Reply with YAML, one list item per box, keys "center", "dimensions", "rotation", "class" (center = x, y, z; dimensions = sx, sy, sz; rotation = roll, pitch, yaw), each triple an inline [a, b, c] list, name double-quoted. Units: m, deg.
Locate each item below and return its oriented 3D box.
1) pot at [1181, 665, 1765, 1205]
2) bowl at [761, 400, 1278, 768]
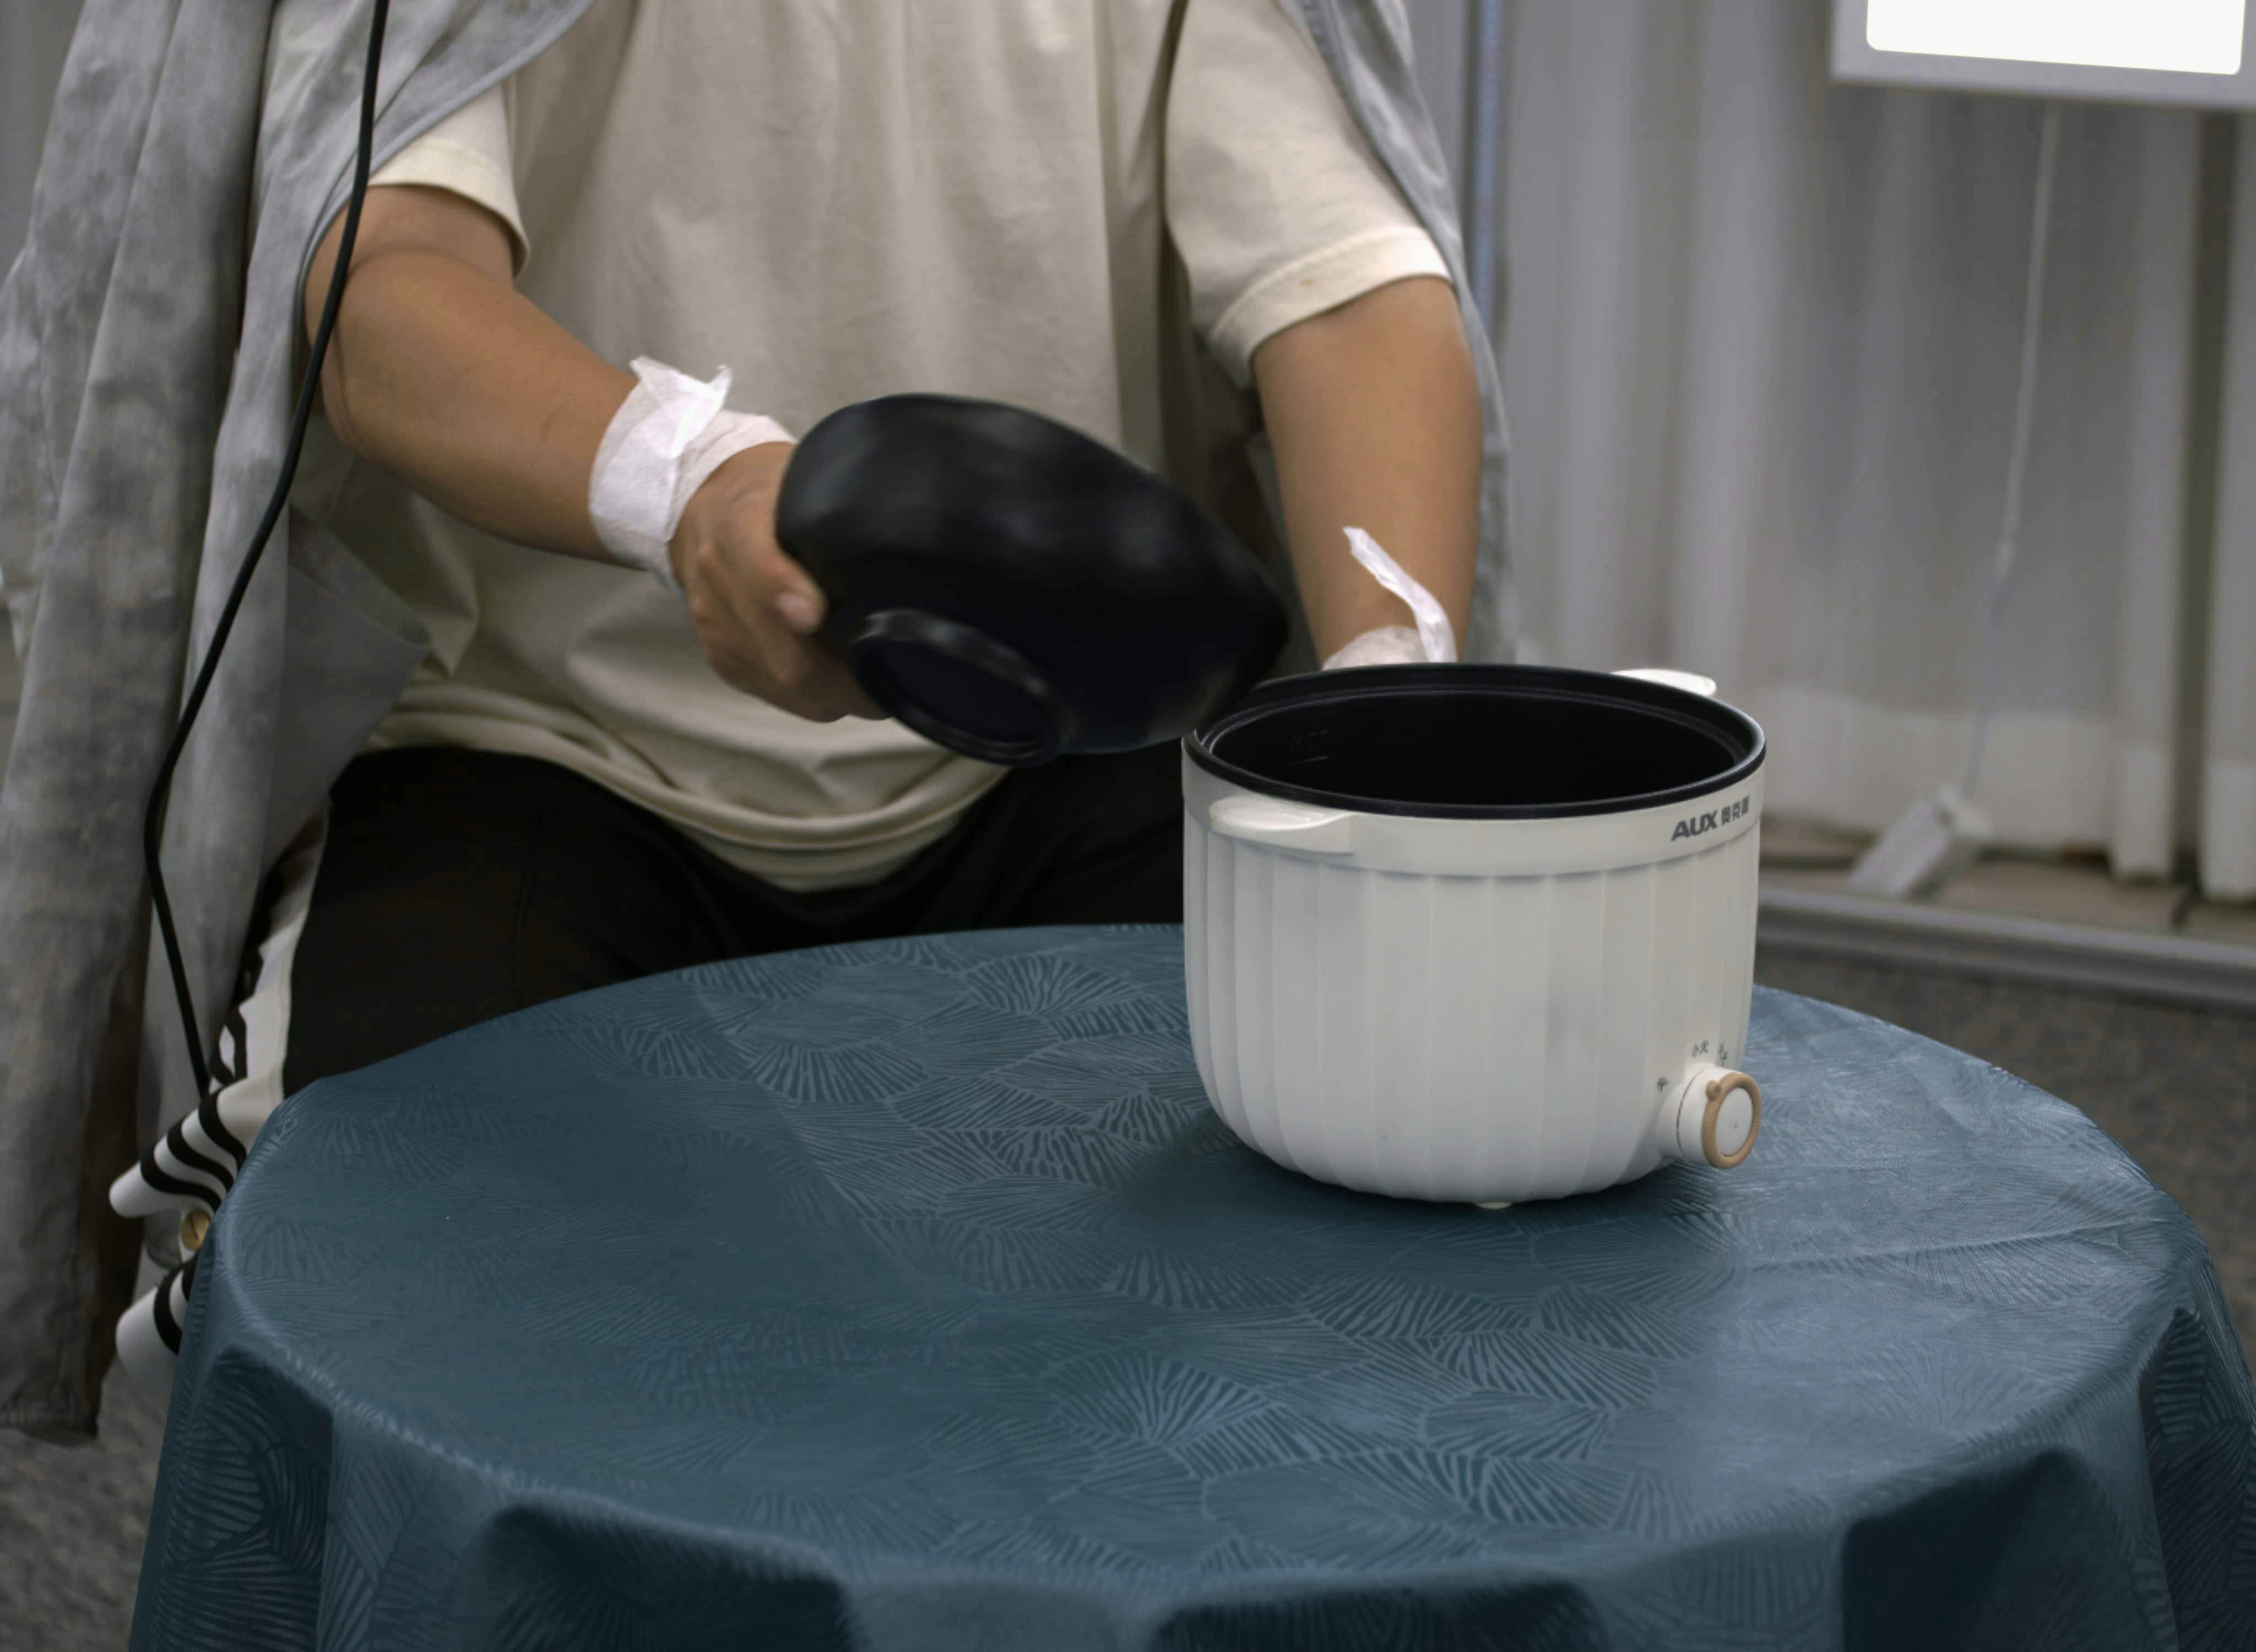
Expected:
- center: [0.112, 0.035, 1.650]
  dimensions: [0.188, 0.144, 0.241]
  rotation: [8, 18, 37]
  class: "pot"
- center: [-0.042, -0.062, 1.550]
  dimensions: [0.168, 0.066, 0.139]
  rotation: [10, -26, 30]
  class: "bowl"
